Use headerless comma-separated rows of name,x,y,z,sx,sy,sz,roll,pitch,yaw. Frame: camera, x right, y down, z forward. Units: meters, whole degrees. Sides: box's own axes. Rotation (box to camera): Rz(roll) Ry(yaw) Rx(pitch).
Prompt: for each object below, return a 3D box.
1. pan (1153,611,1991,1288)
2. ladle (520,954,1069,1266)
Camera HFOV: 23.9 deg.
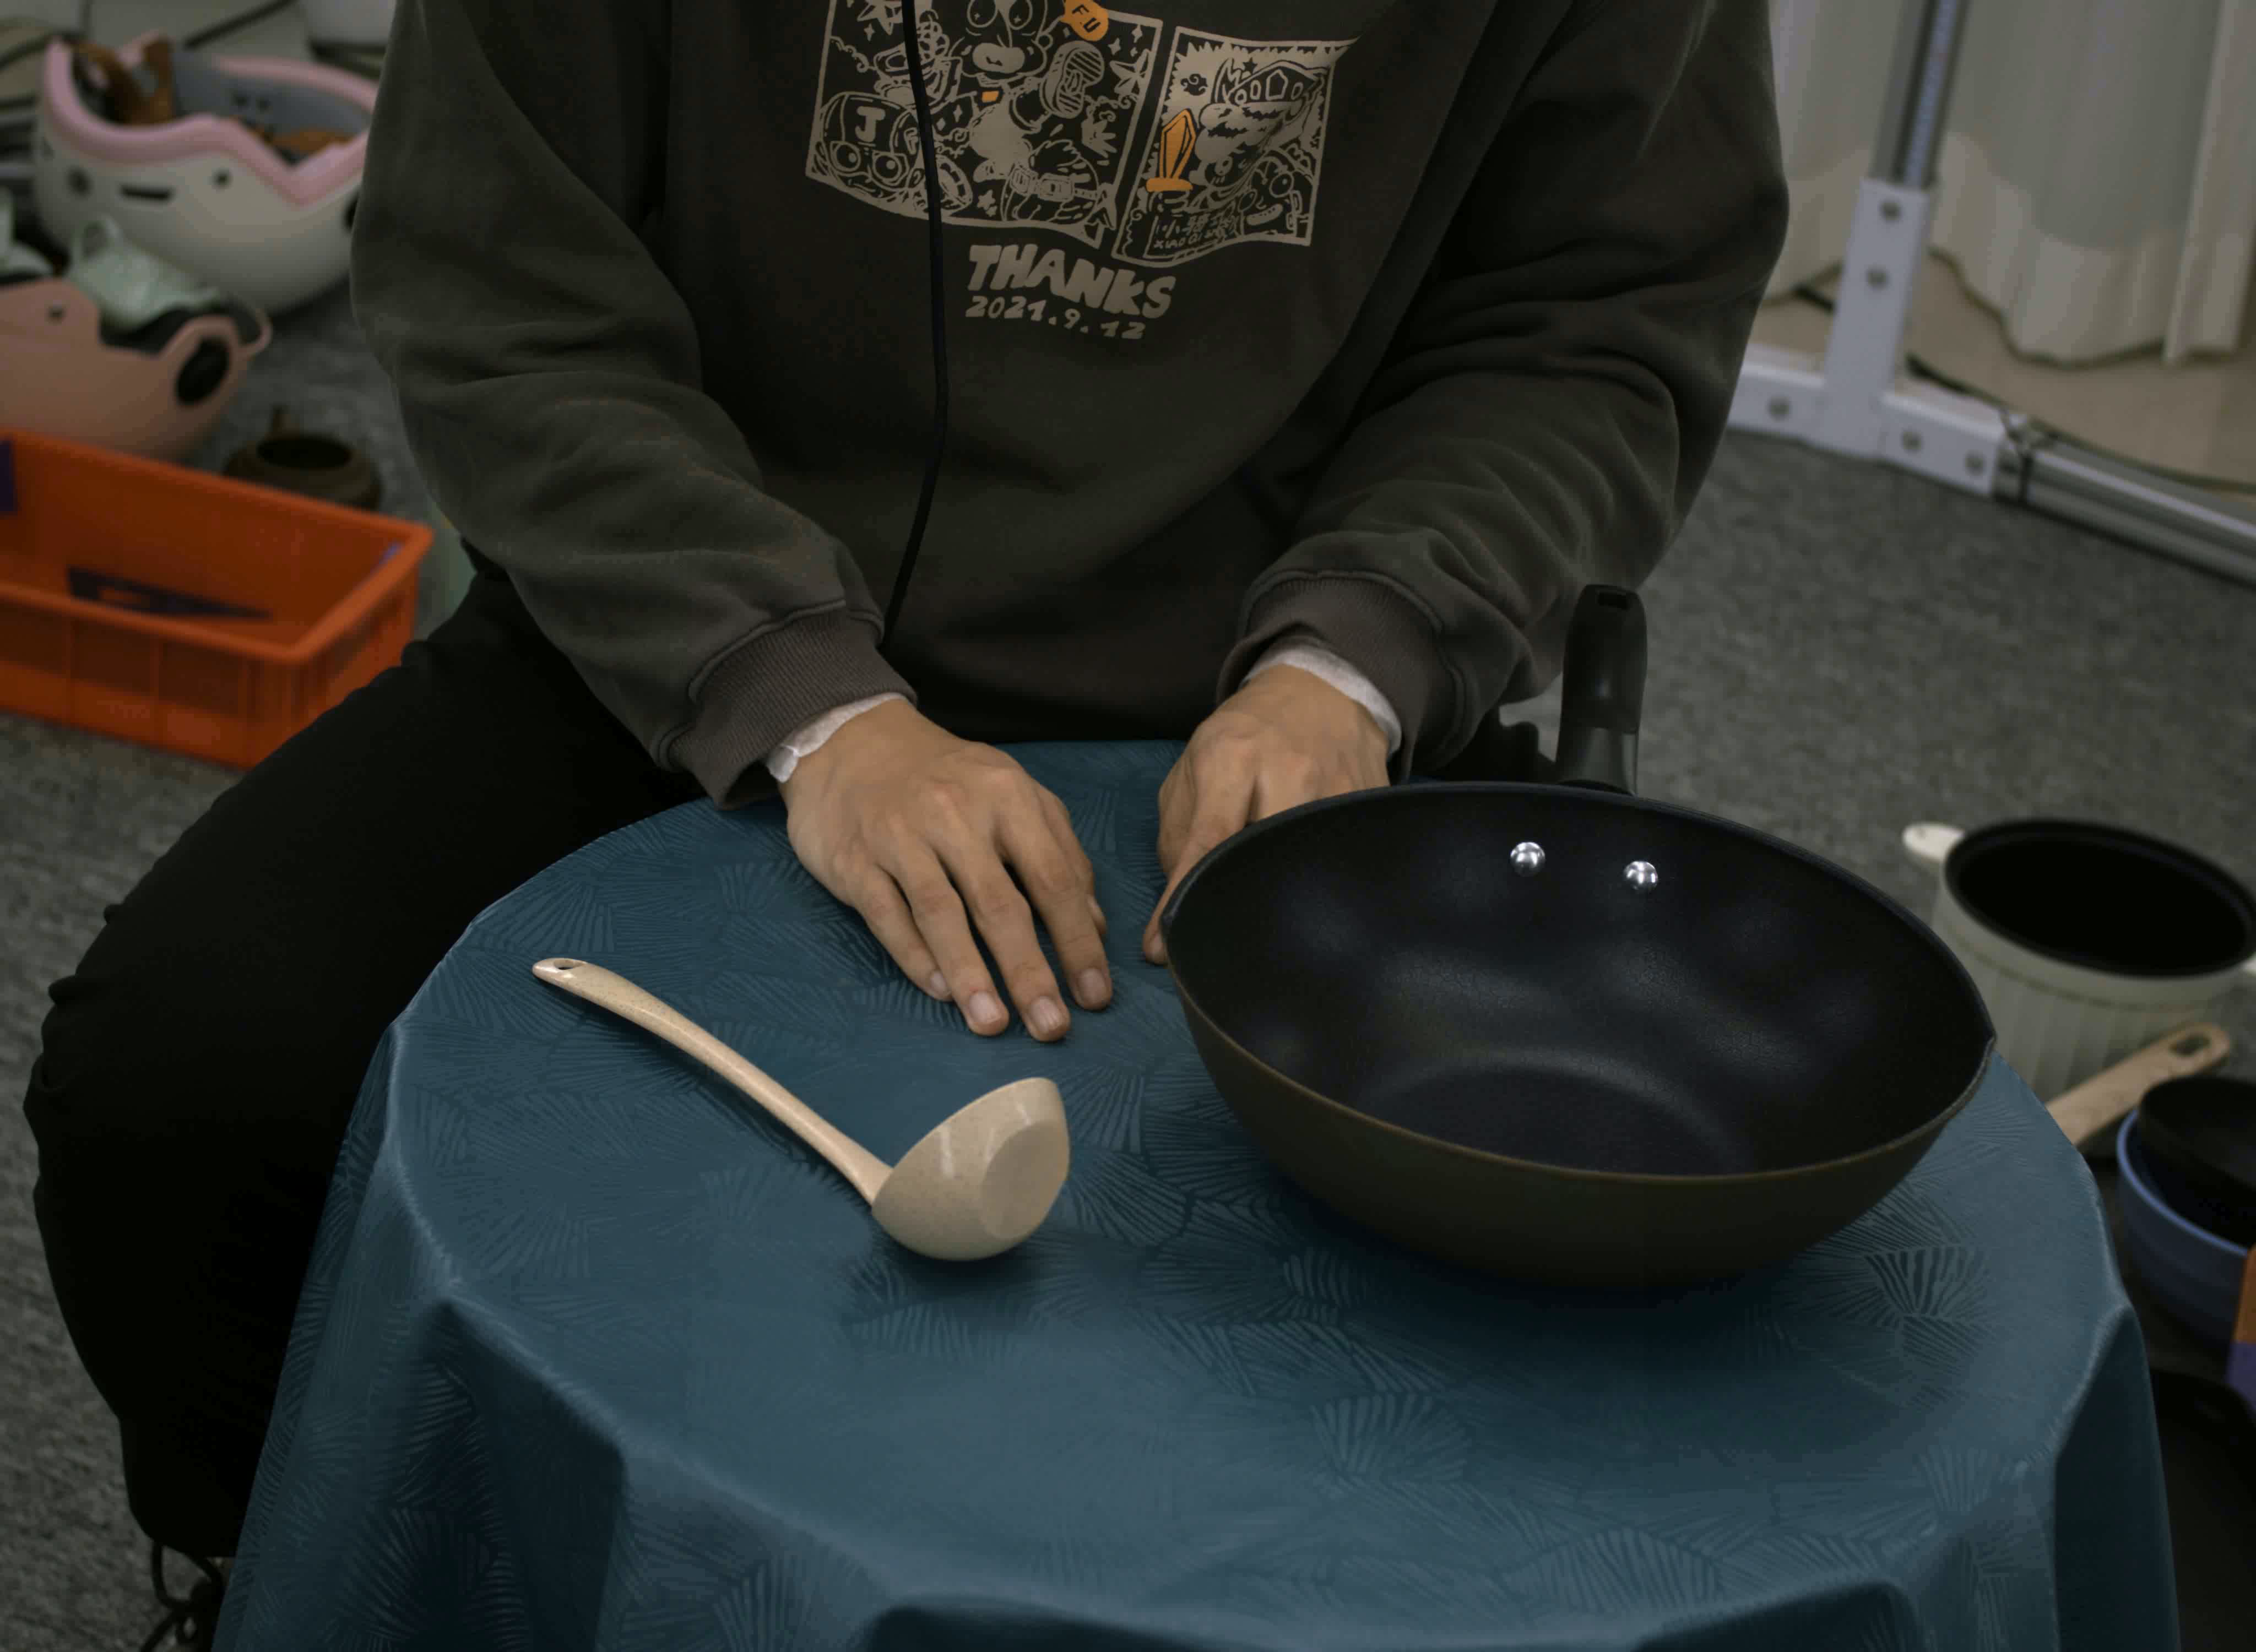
pan,0.158,0.044,1.907,0.287,0.086,0.465,8,26,4
ladle,-0.122,0.069,1.802,0.072,0.072,0.256,-21,39,-40
